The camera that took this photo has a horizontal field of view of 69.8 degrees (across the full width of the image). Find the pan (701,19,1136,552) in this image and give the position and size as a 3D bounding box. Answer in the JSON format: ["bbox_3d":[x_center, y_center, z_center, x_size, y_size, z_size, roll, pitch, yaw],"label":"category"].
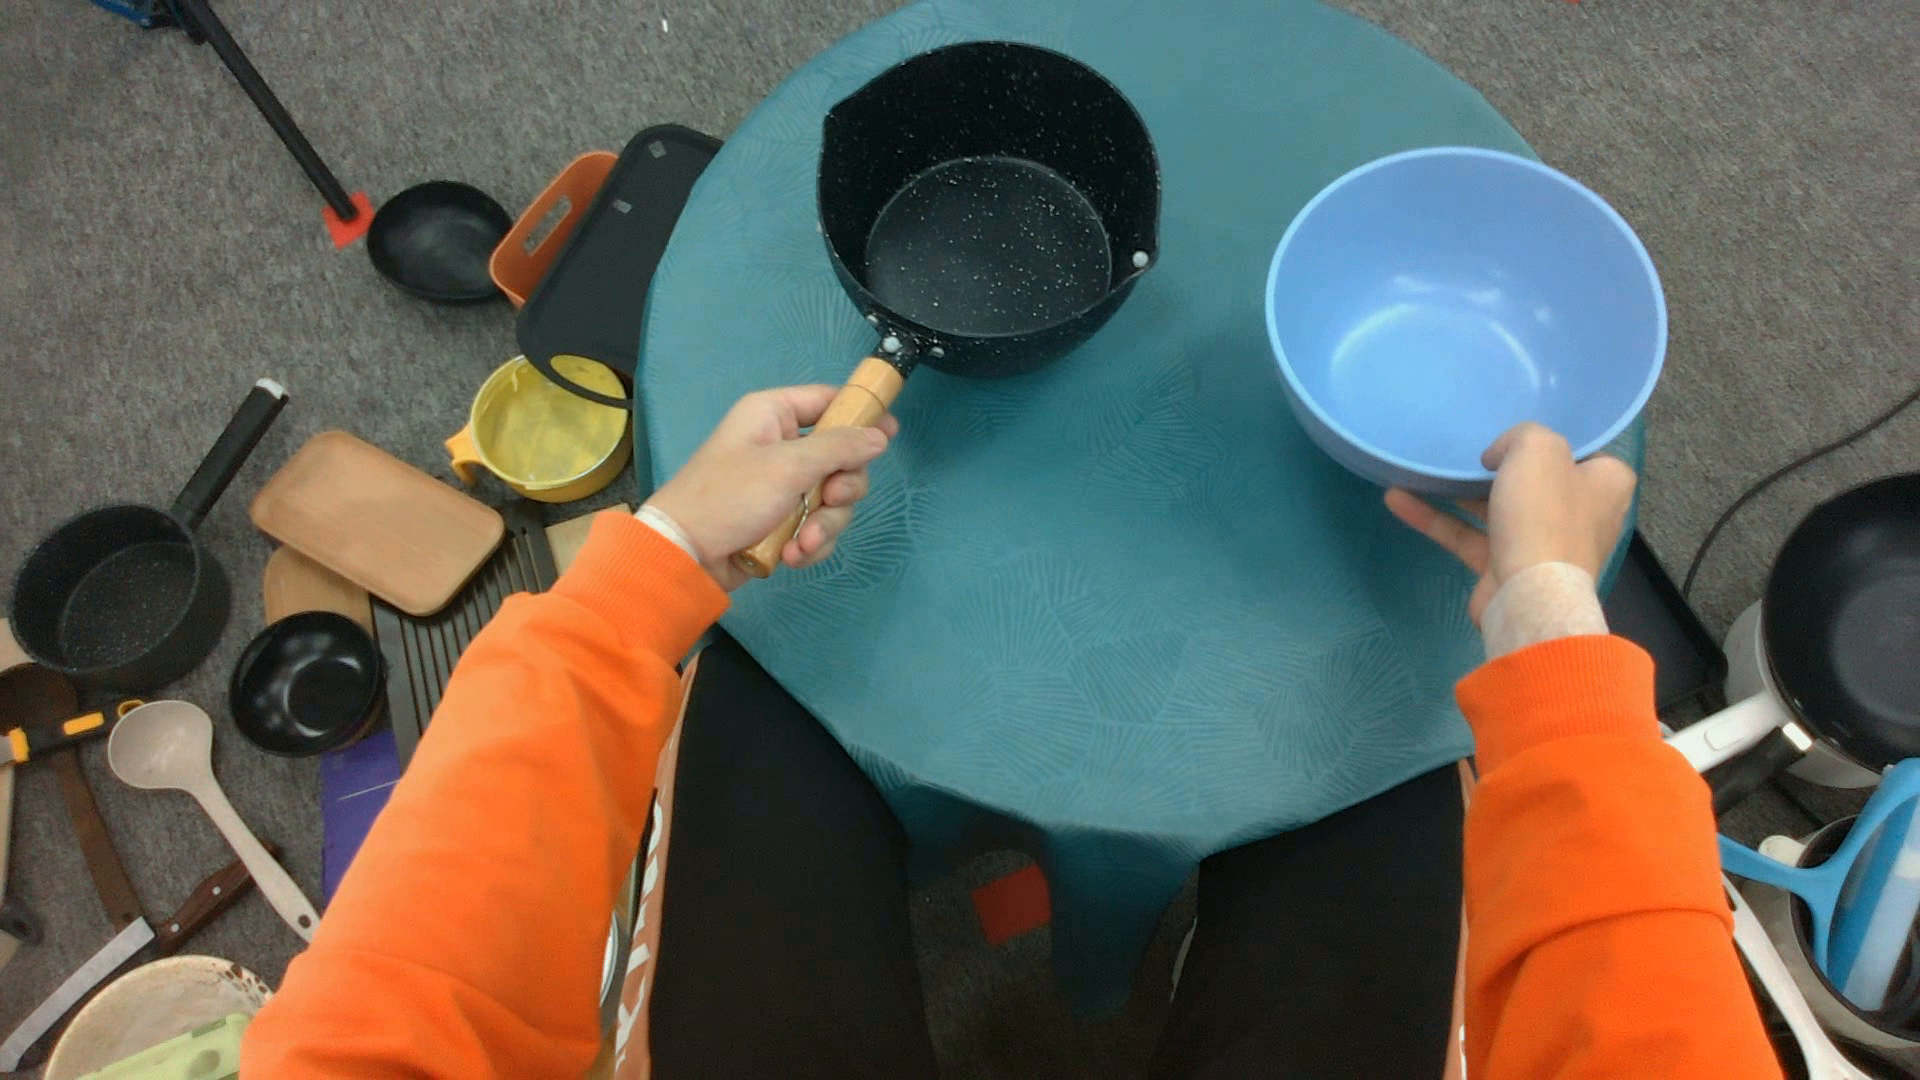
[{"bbox_3d":[-0.033,-0.125,0.740,0.207,0.108,0.344,25,71,8],"label":"pan"}]

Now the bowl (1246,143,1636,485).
[{"bbox_3d":[0.250,-0.108,0.752,0.196,0.095,0.197,-1,66,3],"label":"bowl"}]
